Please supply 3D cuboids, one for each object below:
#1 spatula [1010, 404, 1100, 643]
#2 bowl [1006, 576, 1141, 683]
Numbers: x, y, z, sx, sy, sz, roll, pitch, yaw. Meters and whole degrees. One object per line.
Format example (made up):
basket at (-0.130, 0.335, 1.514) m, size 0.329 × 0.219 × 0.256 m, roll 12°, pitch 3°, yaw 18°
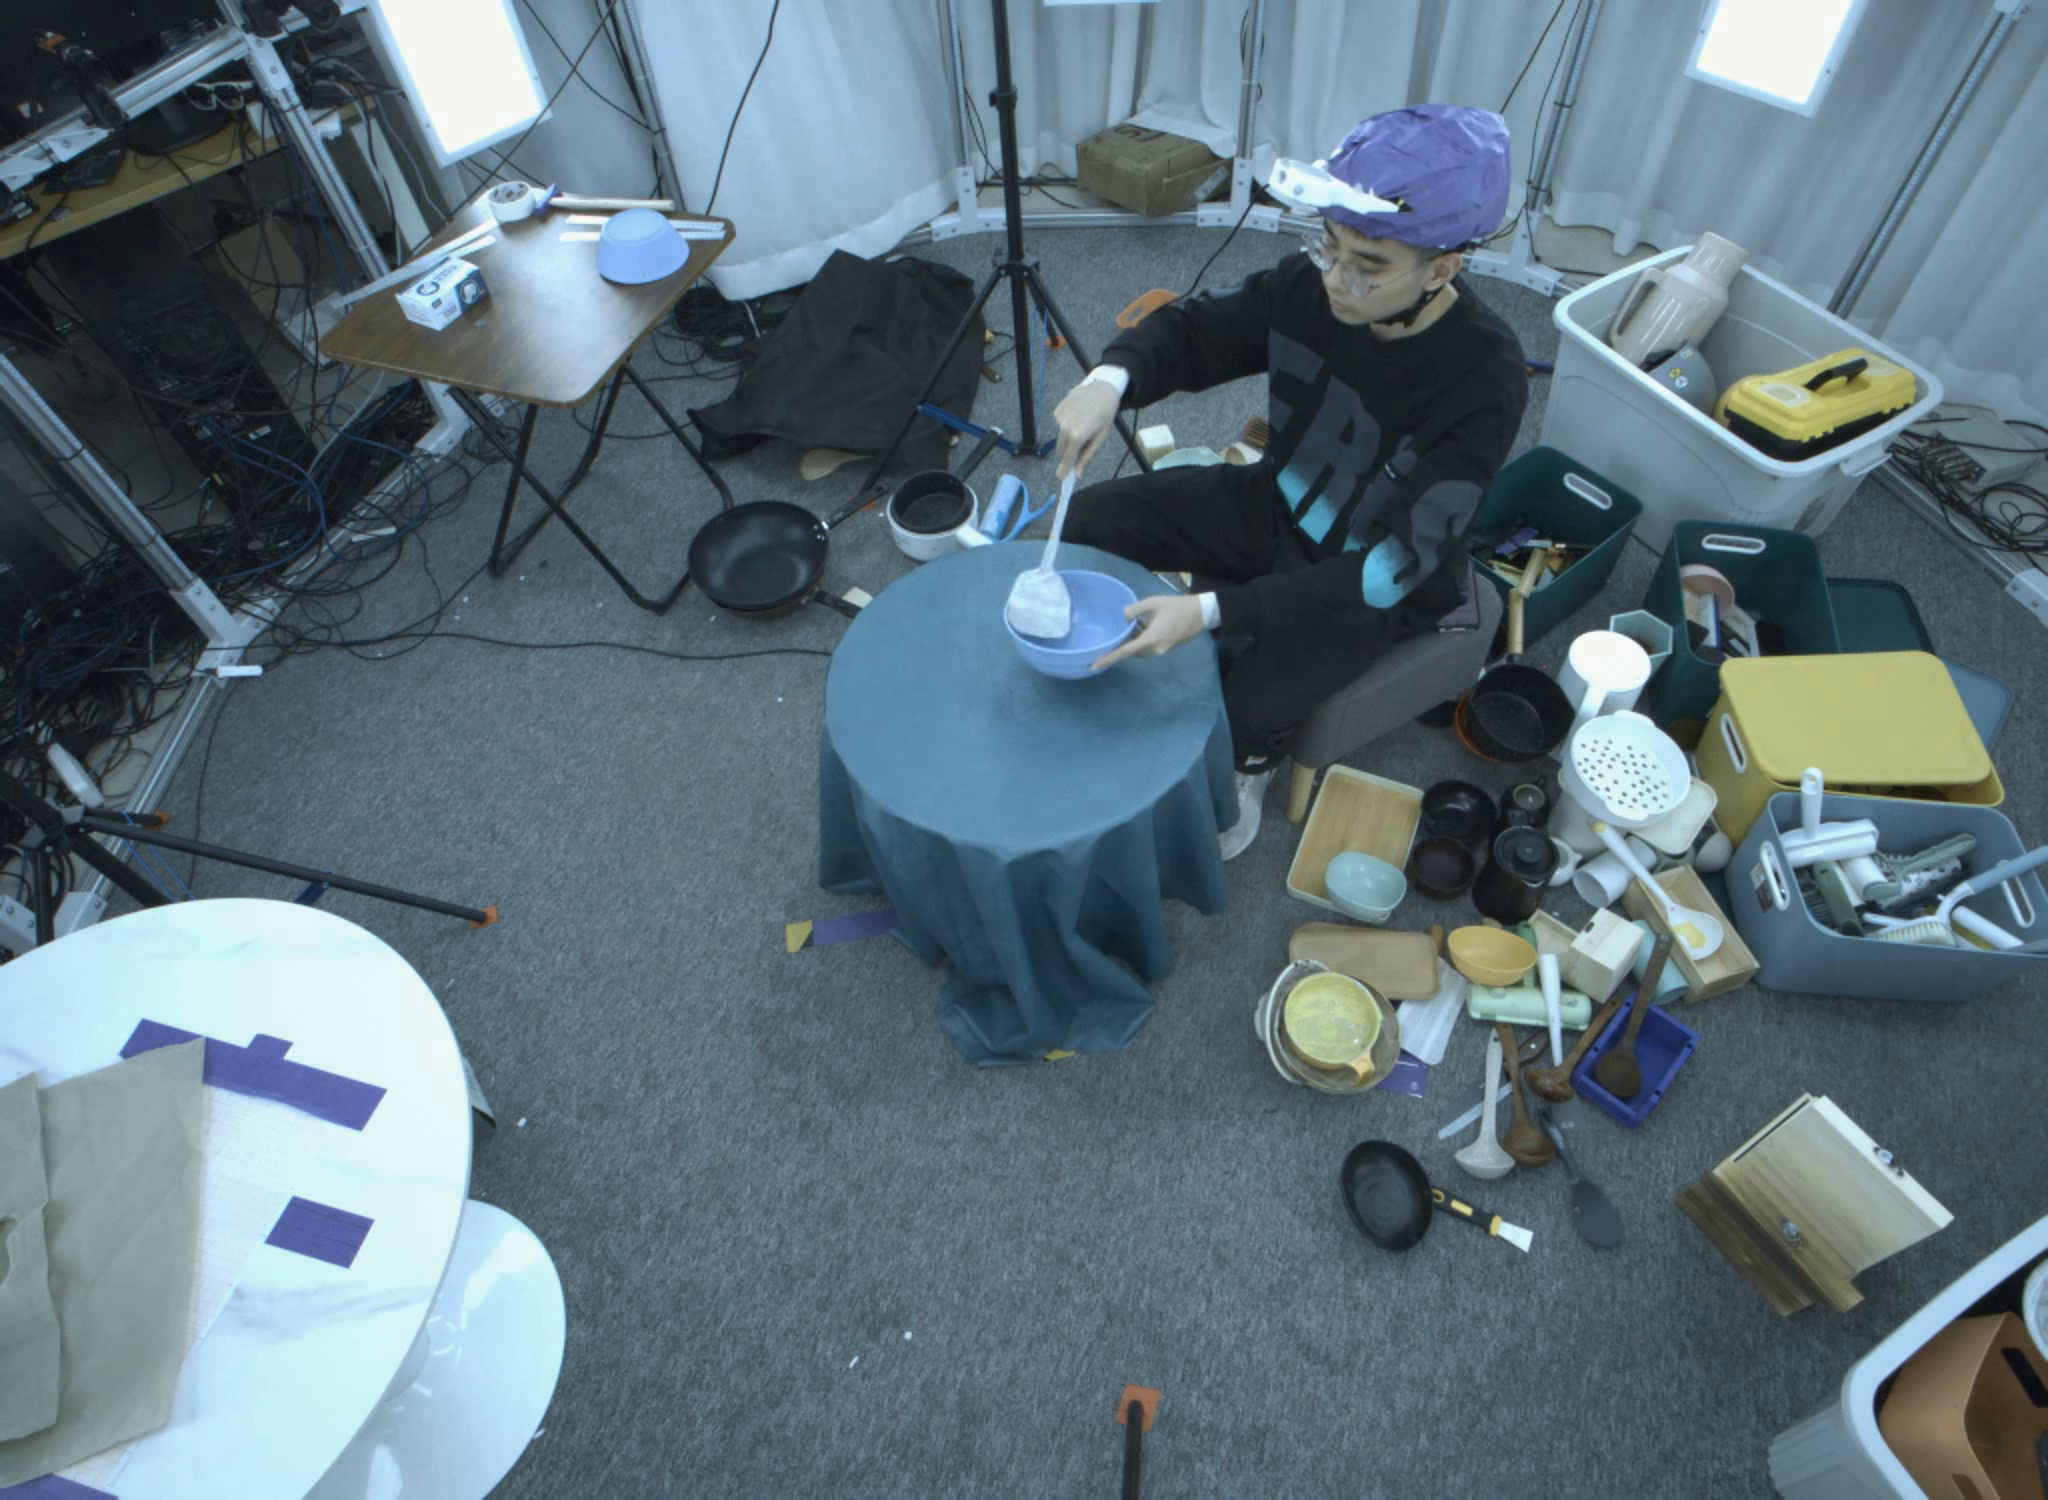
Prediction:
spatula at (0.060, -0.339, 1.797) m, size 0.100 × 0.365 × 0.044 m, roll 11°, pitch 11°, yaw -18°
bowl at (0.074, -0.164, 1.817) m, size 0.196 × 0.096 × 0.194 m, roll -1°, pitch 43°, yaw 3°
